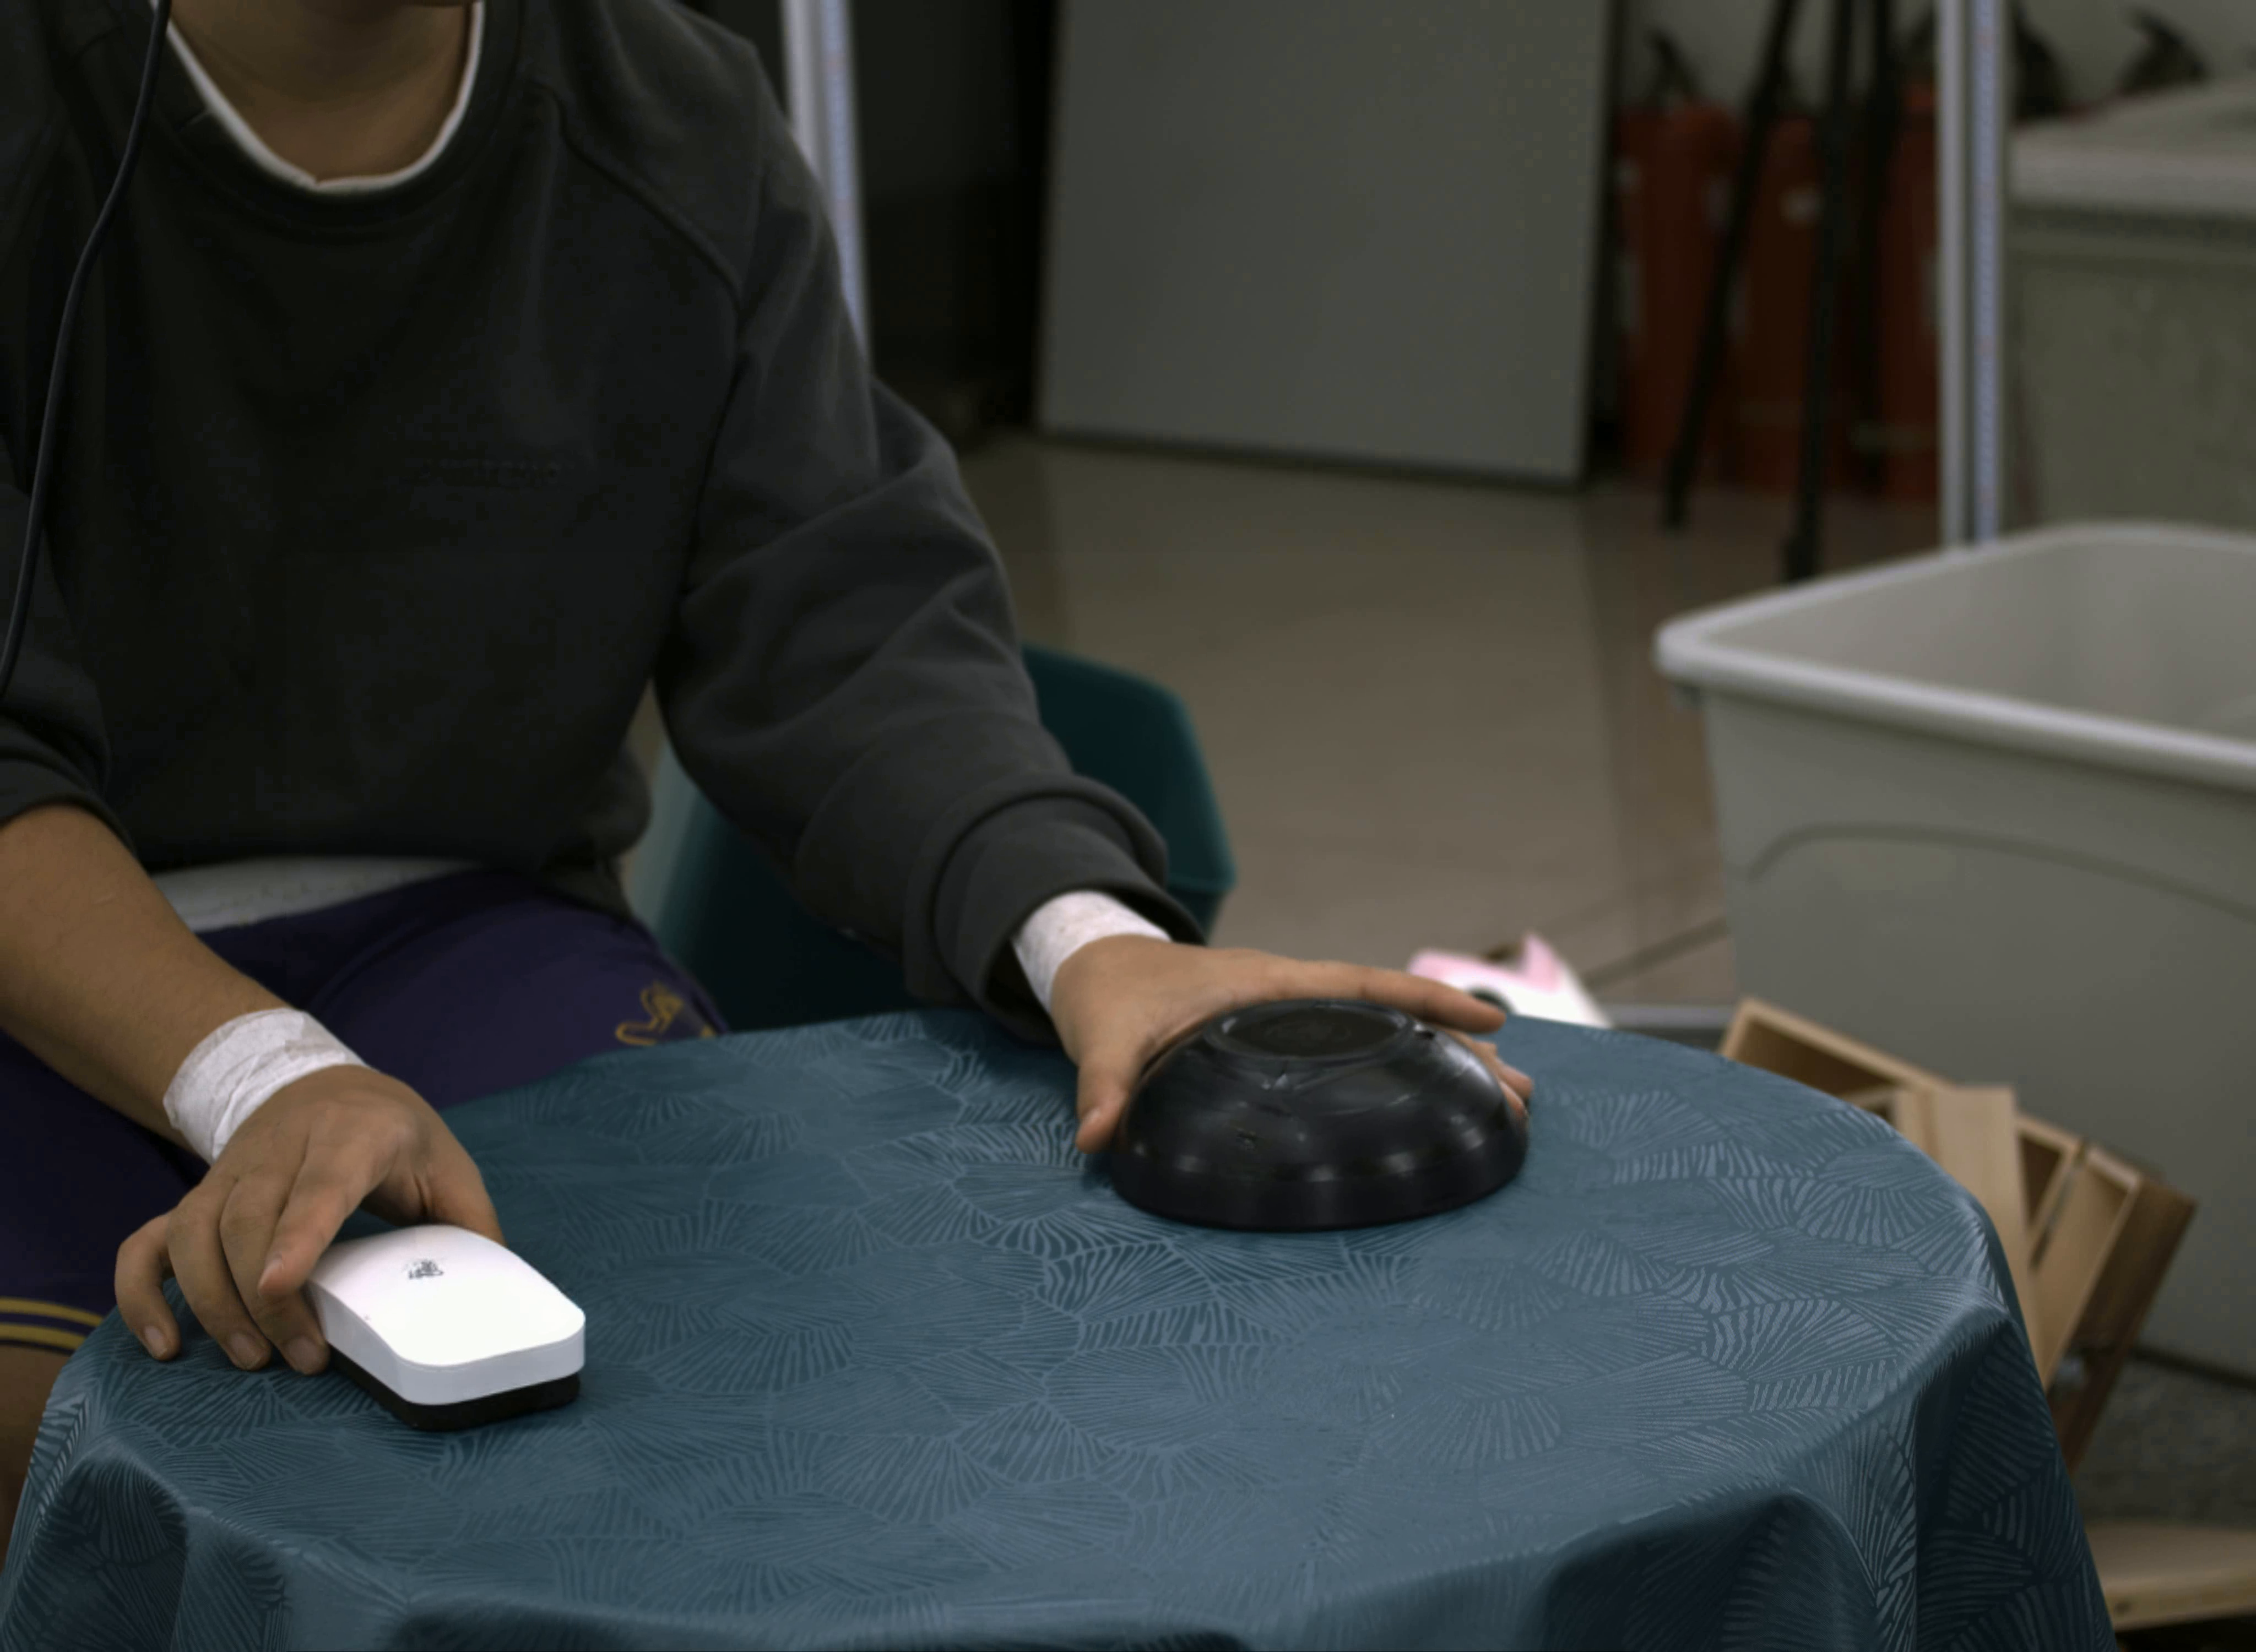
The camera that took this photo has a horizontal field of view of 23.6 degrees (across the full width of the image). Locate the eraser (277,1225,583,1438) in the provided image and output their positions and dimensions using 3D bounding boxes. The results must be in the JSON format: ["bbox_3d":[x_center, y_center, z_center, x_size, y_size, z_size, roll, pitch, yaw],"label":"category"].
[{"bbox_3d":[-0.211,0.149,1.647,0.062,0.035,0.132,-8,16,-25],"label":"eraser"}]

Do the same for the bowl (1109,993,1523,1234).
[{"bbox_3d":[0.060,0.089,1.774,0.138,0.050,0.140,-4,15,0],"label":"bowl"}]
